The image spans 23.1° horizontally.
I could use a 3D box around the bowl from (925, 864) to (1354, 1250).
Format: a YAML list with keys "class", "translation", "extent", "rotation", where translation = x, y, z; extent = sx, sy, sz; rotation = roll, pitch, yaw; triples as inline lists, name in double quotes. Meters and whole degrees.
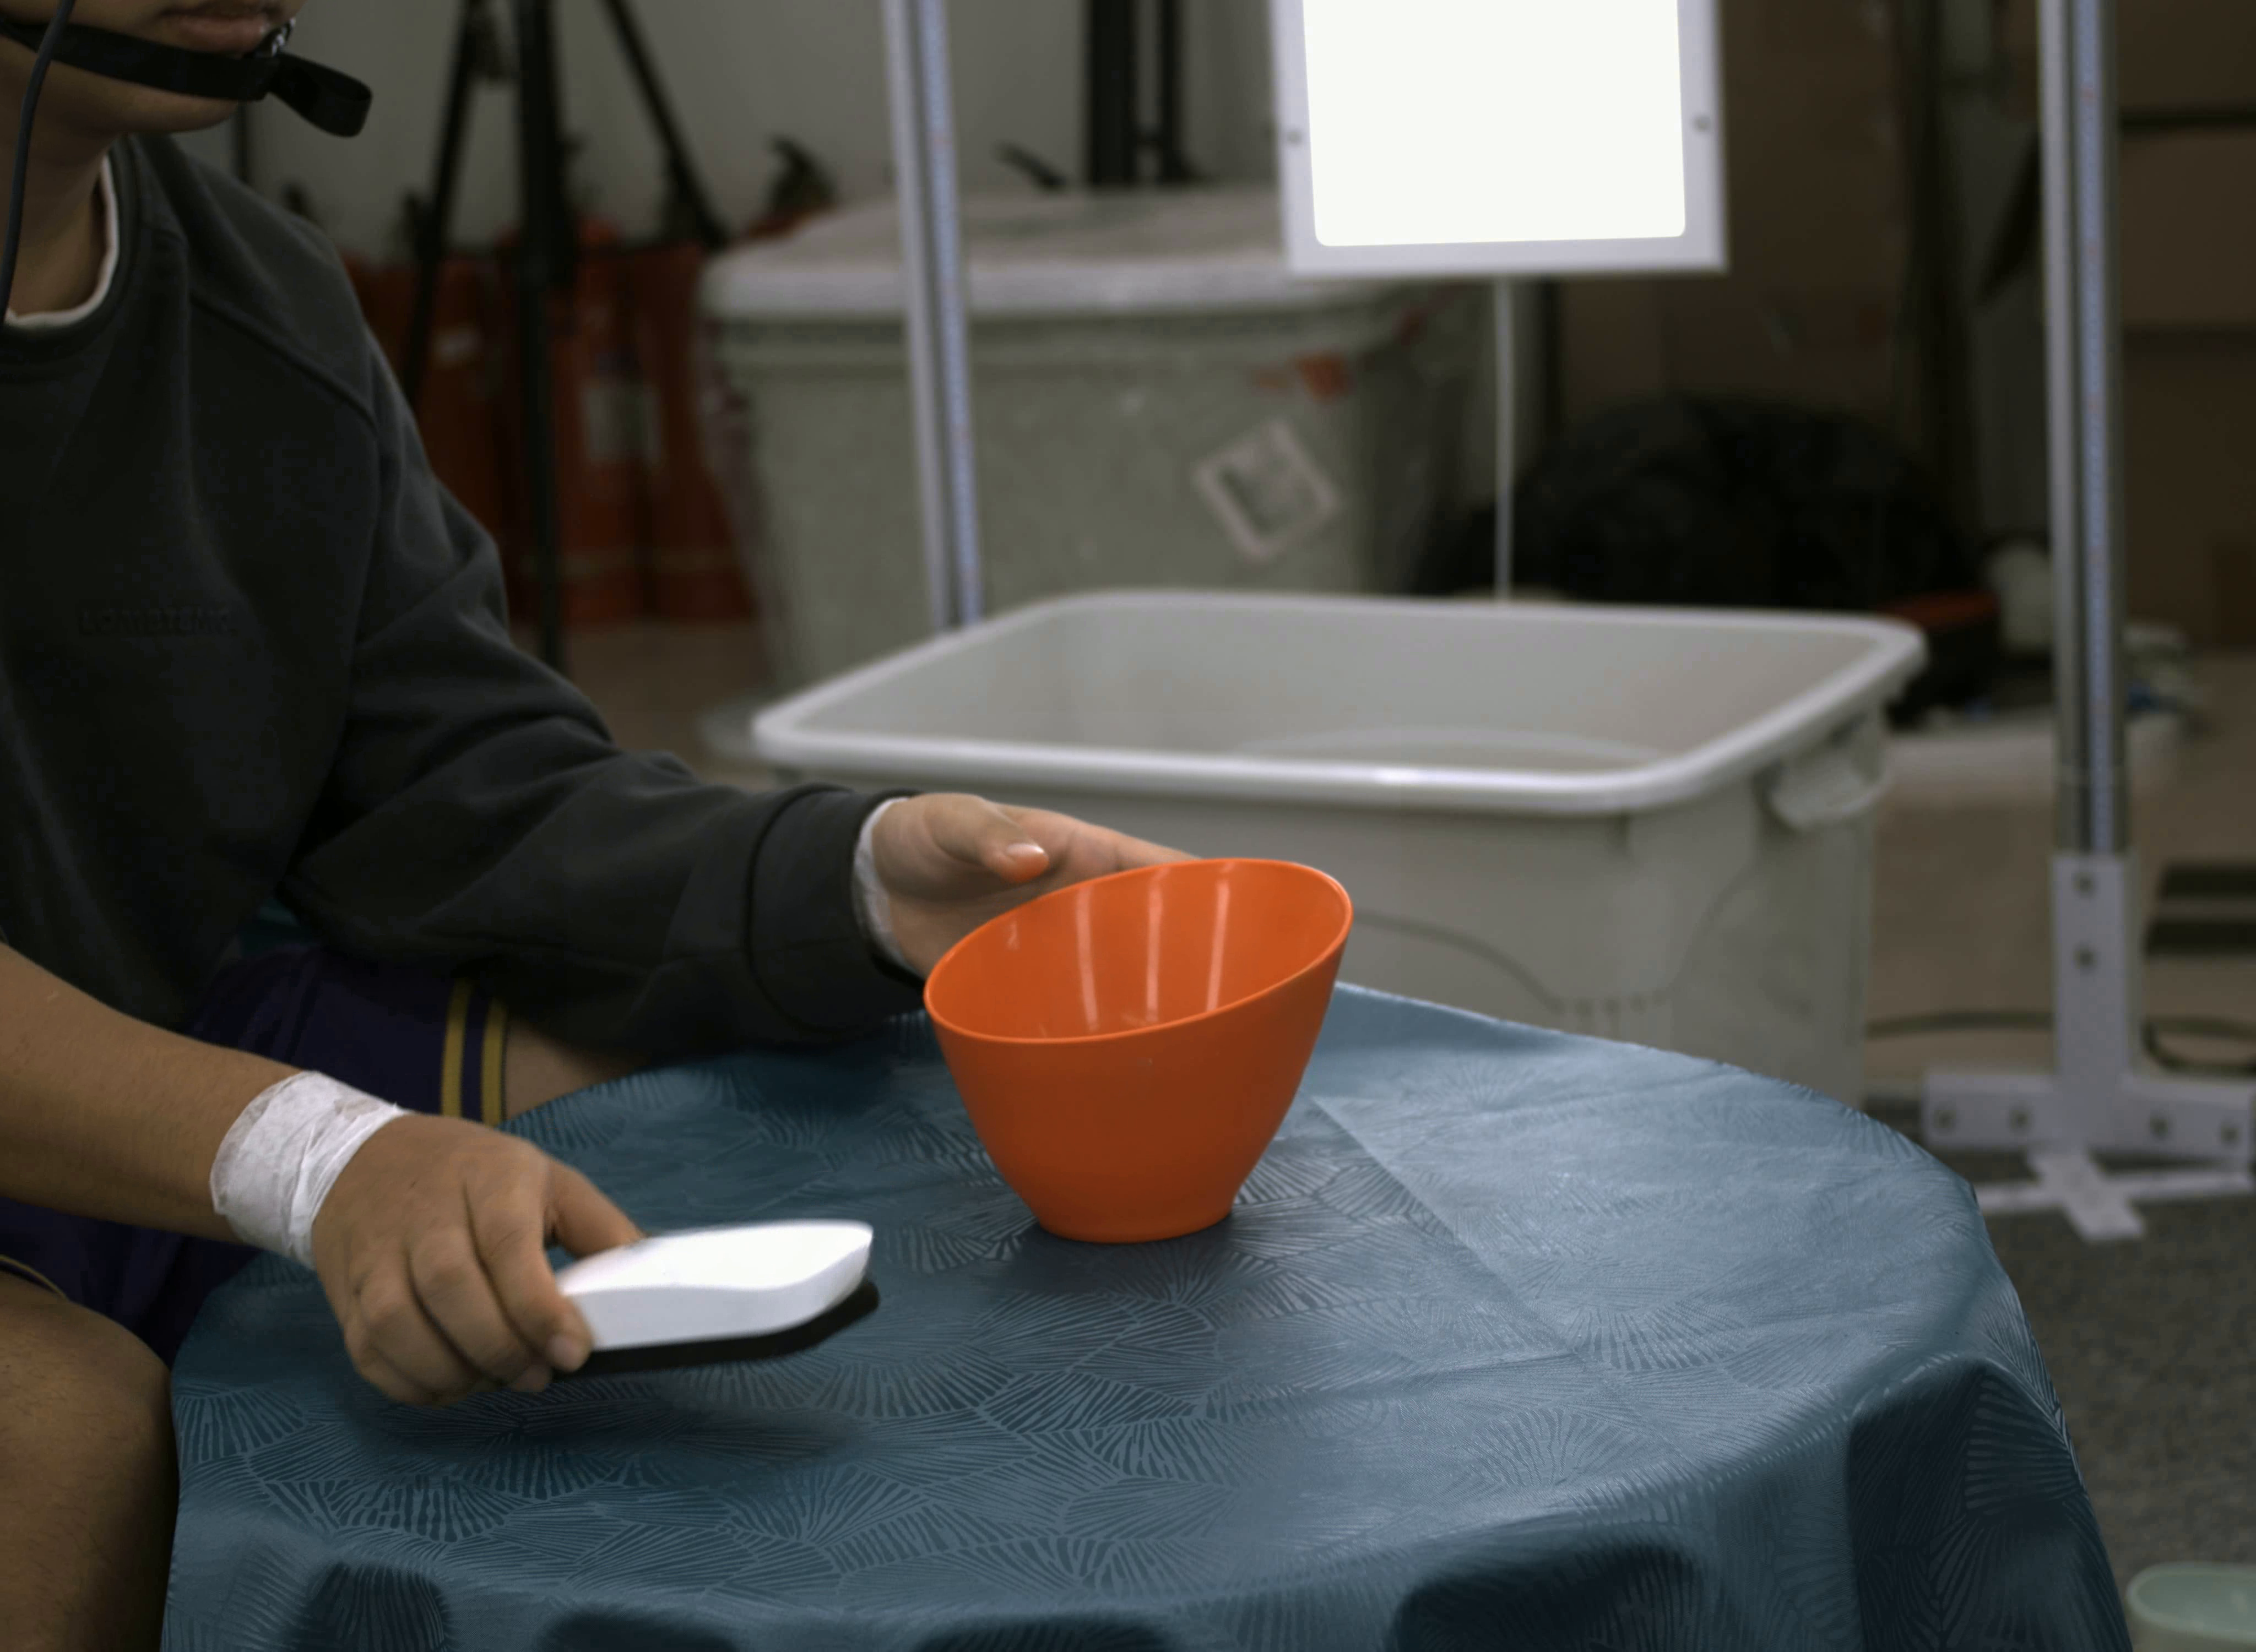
- class: "bowl"
  translation: [0.008, 0.082, 1.867]
  extent: [0.147, 0.105, 0.148]
  rotation: [-5, 14, 0]

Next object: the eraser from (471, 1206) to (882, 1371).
- class: "eraser"
  translation: [-0.138, 0.142, 1.701]
  extent: [0.134, 0.034, 0.062]
  rotation: [-8, 10, 36]
